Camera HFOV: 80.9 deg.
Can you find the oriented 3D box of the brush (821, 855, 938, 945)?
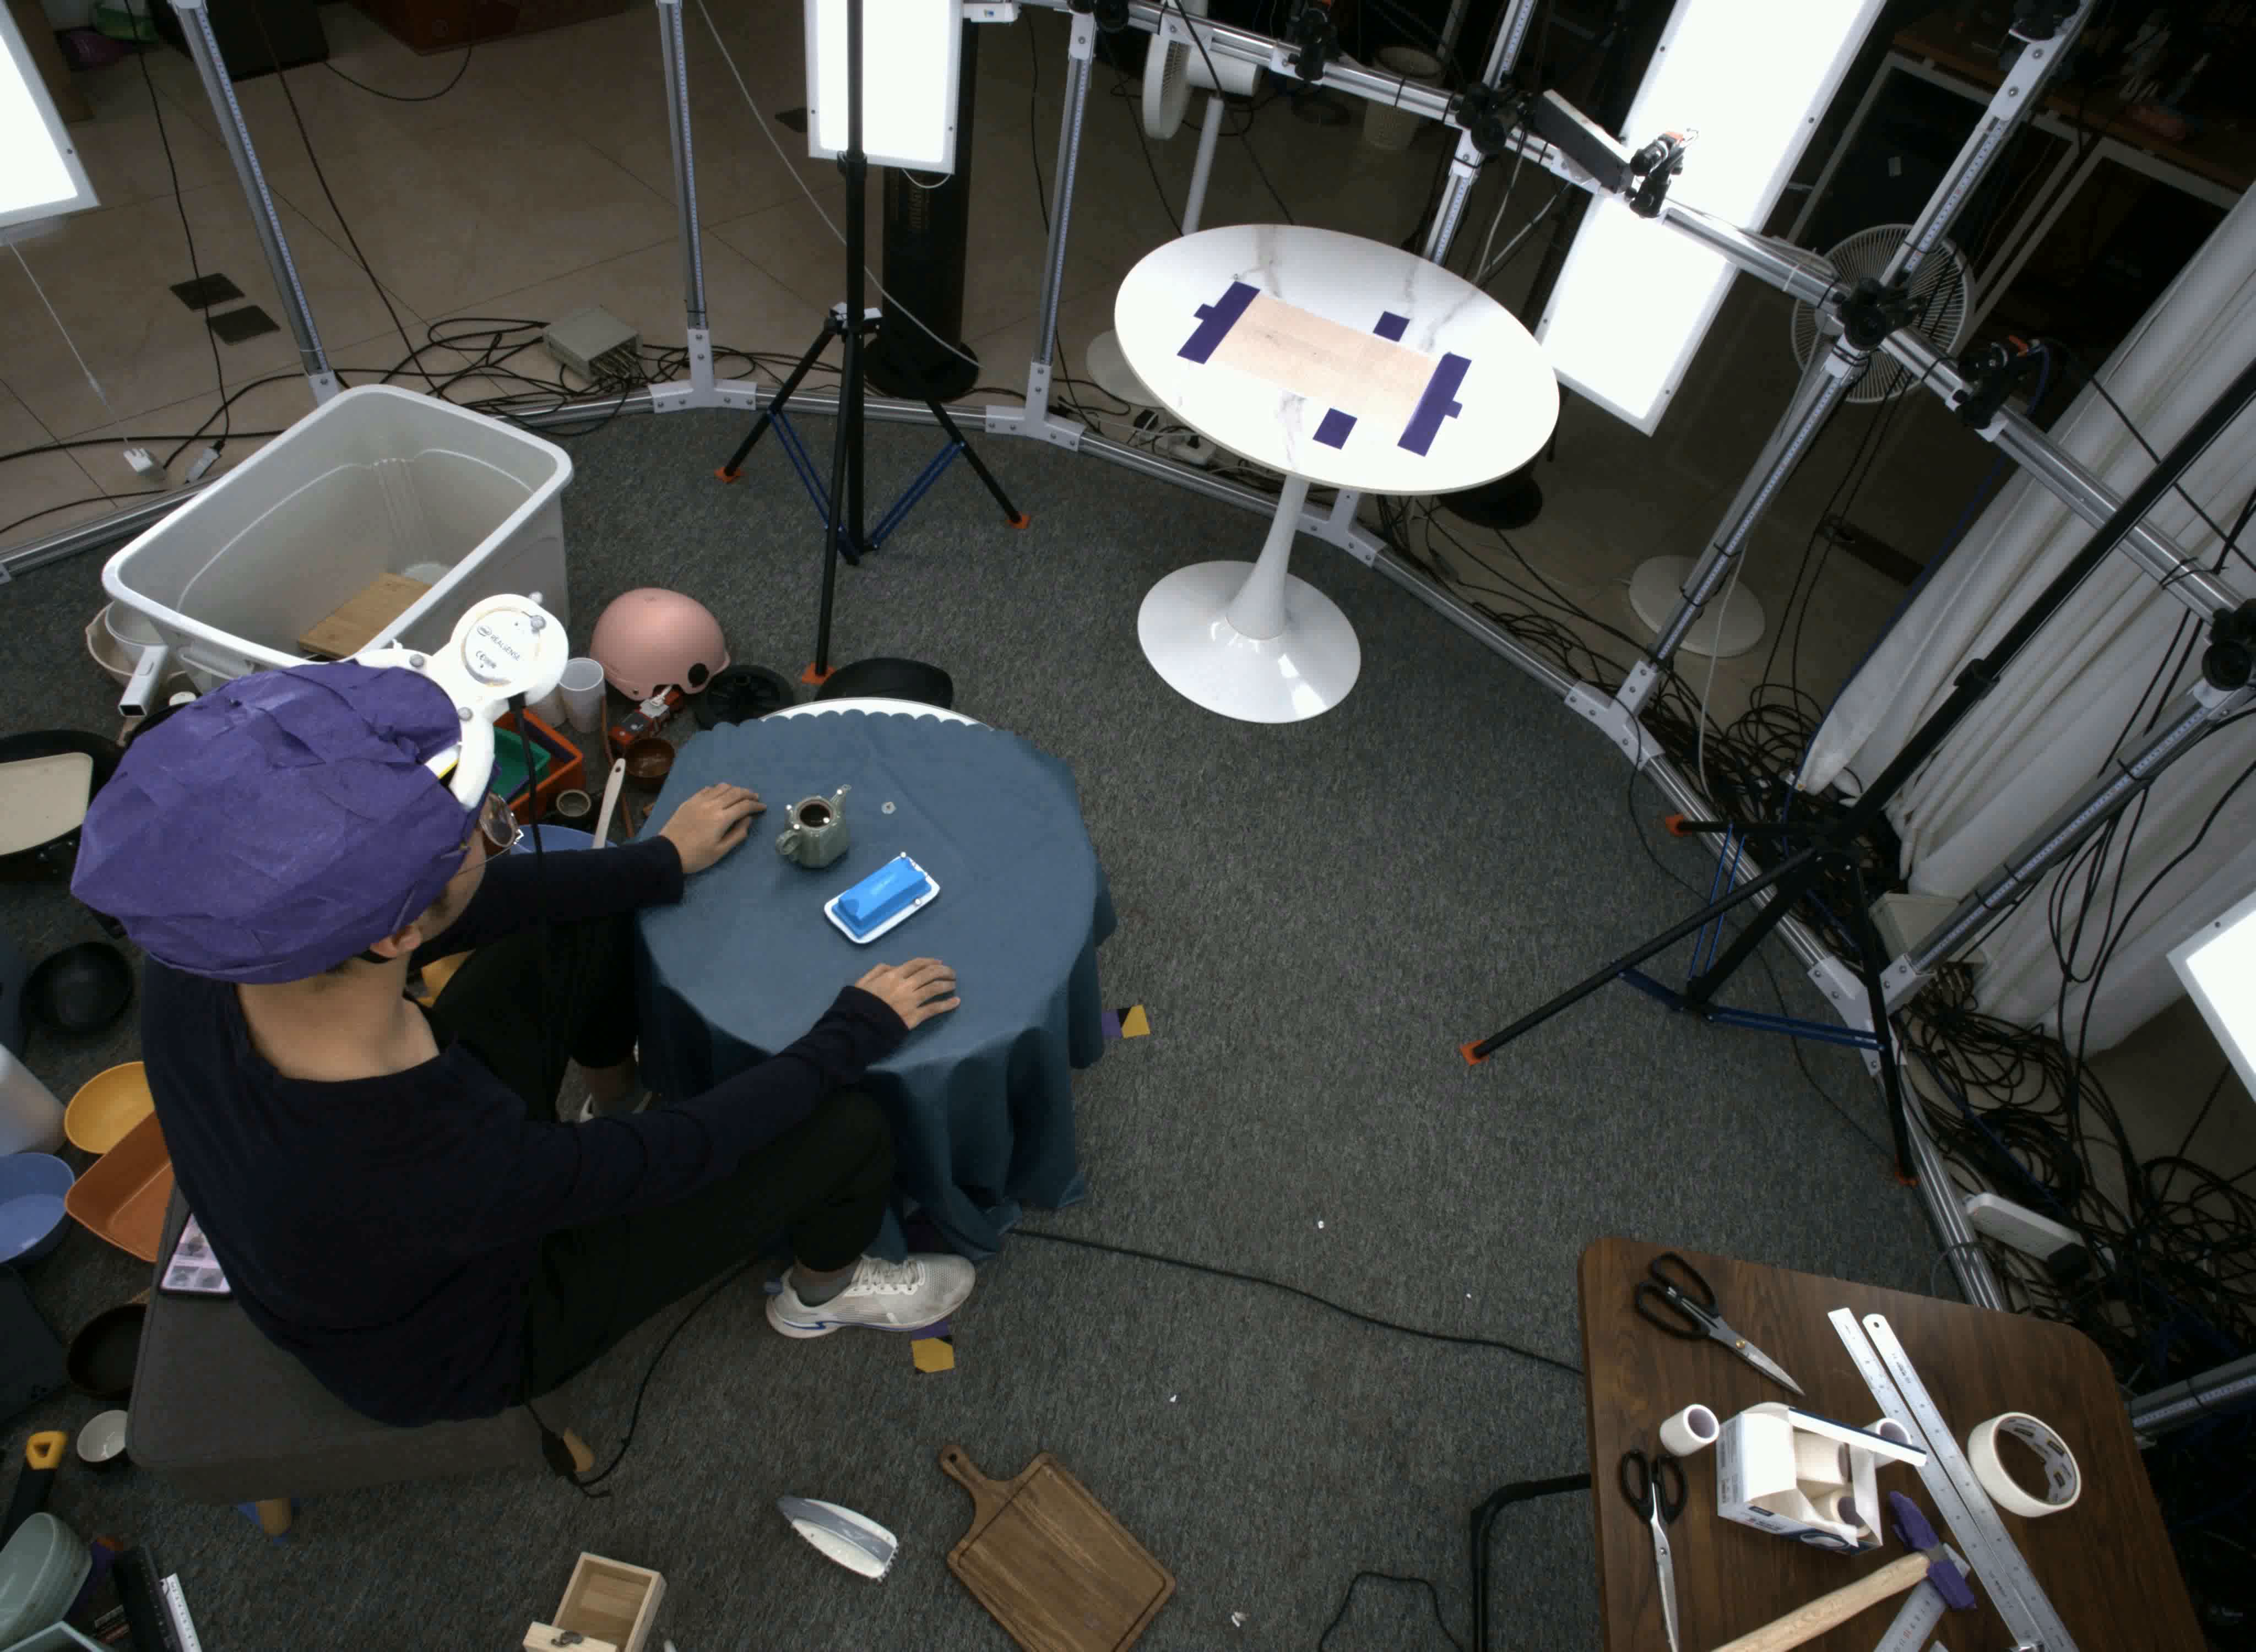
[{"bbox_3d":[-0.315,0.085,1.650,0.081,0.057,0.144,41,52,22],"label":"brush"}]

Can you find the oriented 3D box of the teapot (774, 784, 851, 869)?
[{"bbox_3d":[-0.406,0.003,1.681,0.078,0.077,0.132,35,55,14],"label":"teapot"}]
